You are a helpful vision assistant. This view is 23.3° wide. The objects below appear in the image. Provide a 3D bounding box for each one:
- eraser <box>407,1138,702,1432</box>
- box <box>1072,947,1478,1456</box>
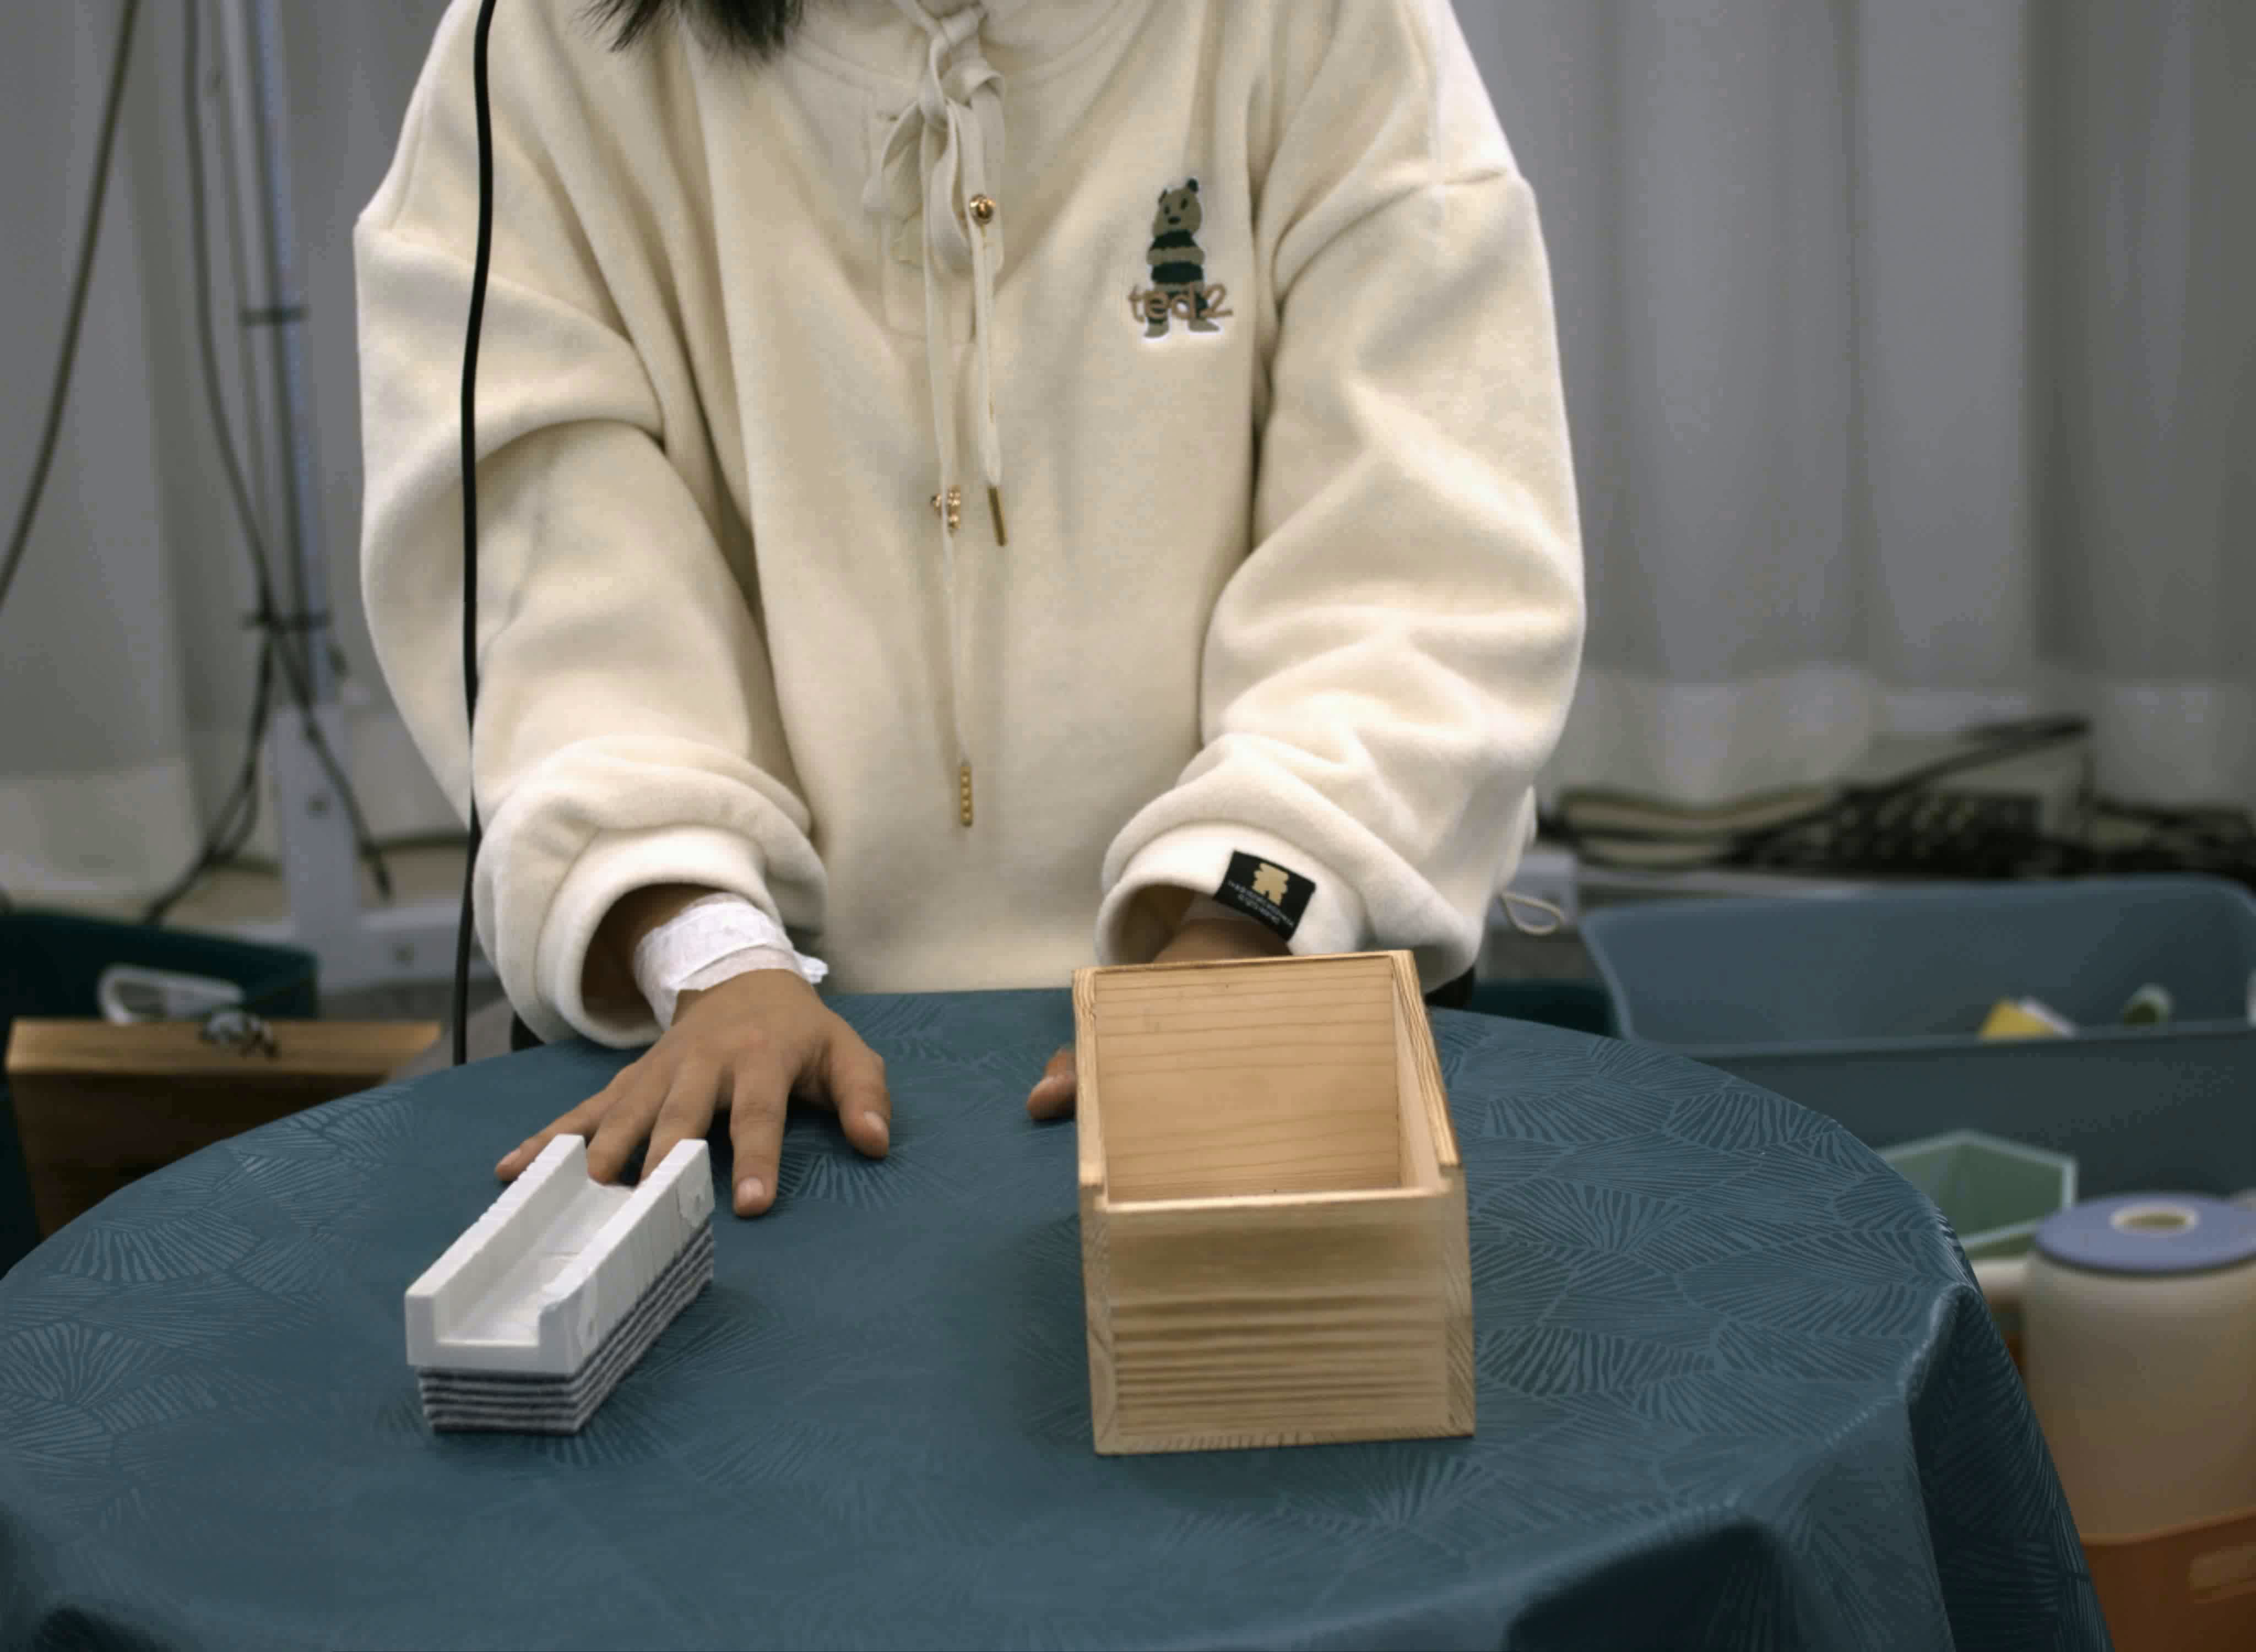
[{"bbox_3d":[-0.165,0.132,1.592,0.049,0.046,0.135,-2,16,12],"label":"eraser"},{"bbox_3d":[0.040,0.105,1.589,0.107,0.080,0.213,-3,15,-1],"label":"box"}]
